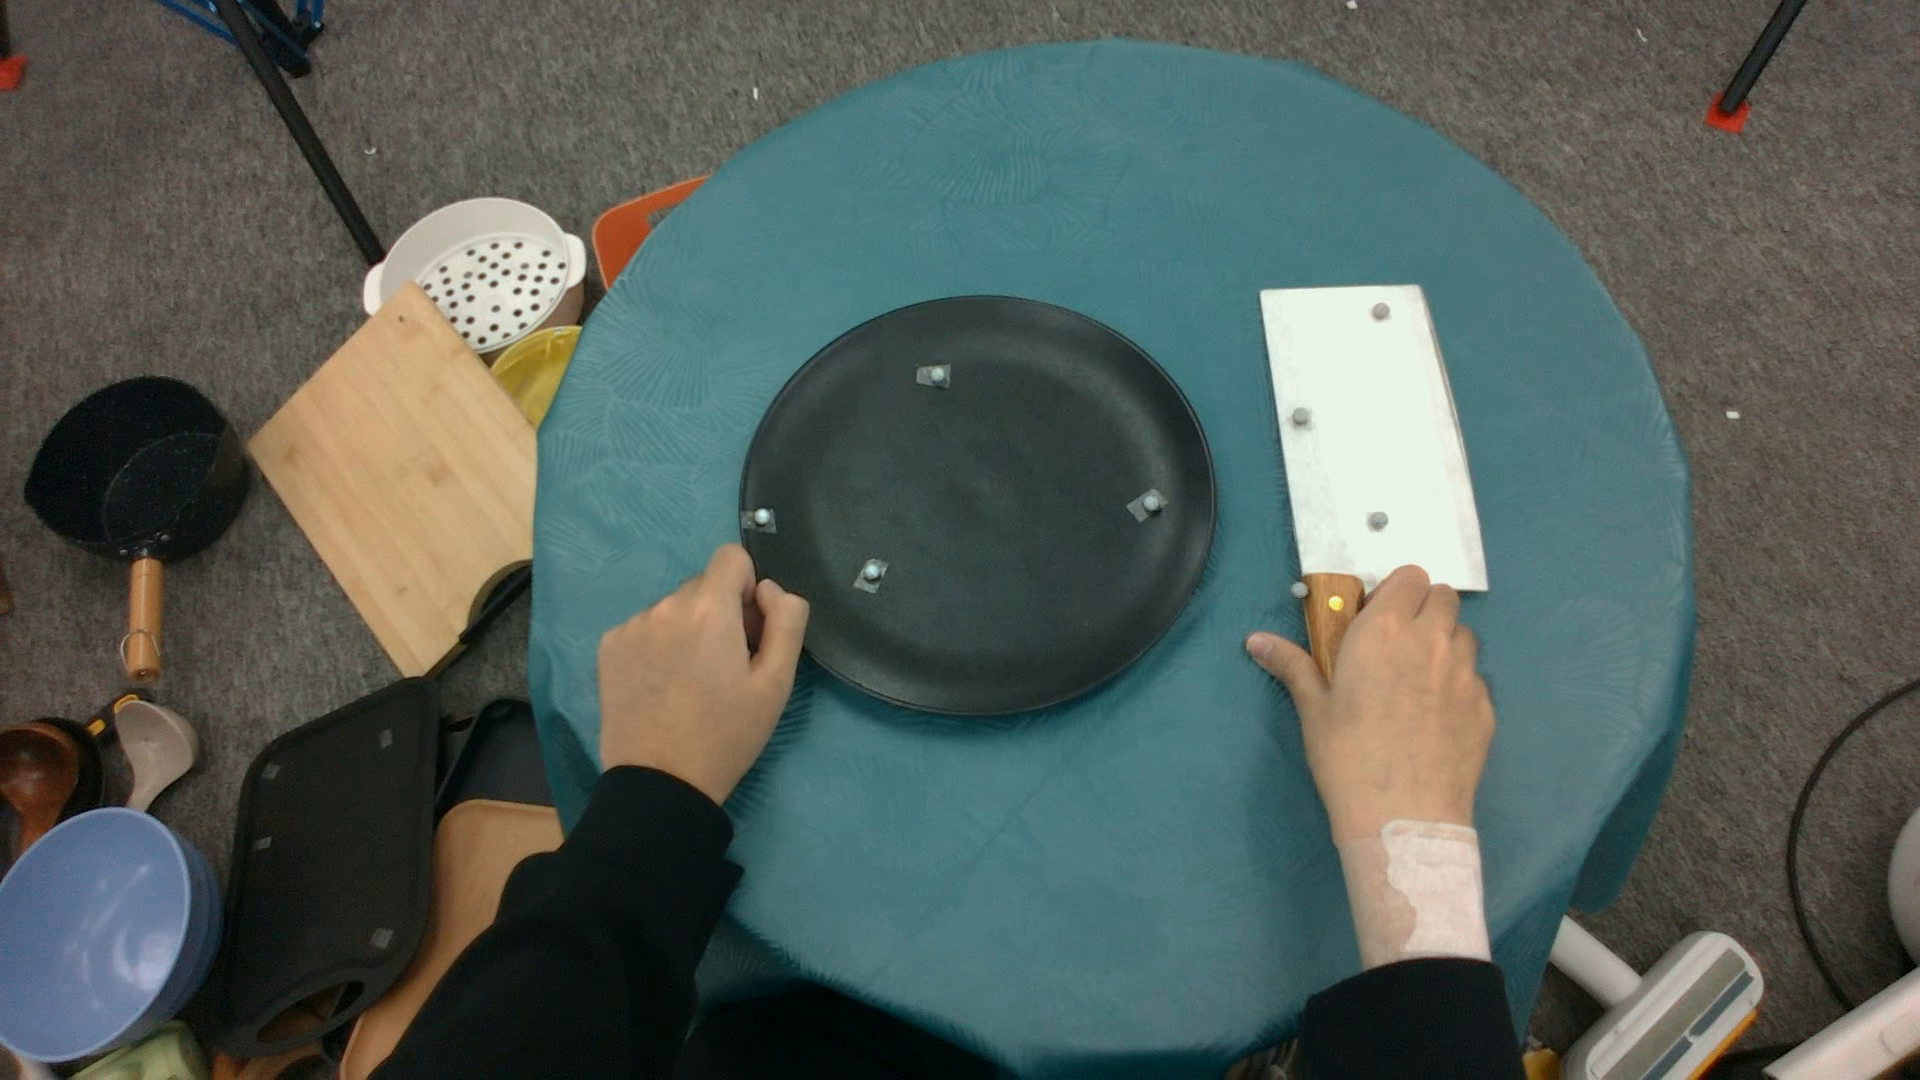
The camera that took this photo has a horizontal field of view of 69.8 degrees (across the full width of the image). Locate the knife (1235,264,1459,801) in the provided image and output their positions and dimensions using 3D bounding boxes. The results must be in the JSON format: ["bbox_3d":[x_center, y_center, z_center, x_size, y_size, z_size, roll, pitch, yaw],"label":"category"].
[{"bbox_3d":[0.200,-0.018,0.695,0.093,0.021,0.307,-1,61,-1],"label":"knife"}]

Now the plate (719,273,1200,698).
[{"bbox_3d":[-0.001,-0.032,0.704,0.244,0.023,0.245,-1,64,2],"label":"plate"}]
